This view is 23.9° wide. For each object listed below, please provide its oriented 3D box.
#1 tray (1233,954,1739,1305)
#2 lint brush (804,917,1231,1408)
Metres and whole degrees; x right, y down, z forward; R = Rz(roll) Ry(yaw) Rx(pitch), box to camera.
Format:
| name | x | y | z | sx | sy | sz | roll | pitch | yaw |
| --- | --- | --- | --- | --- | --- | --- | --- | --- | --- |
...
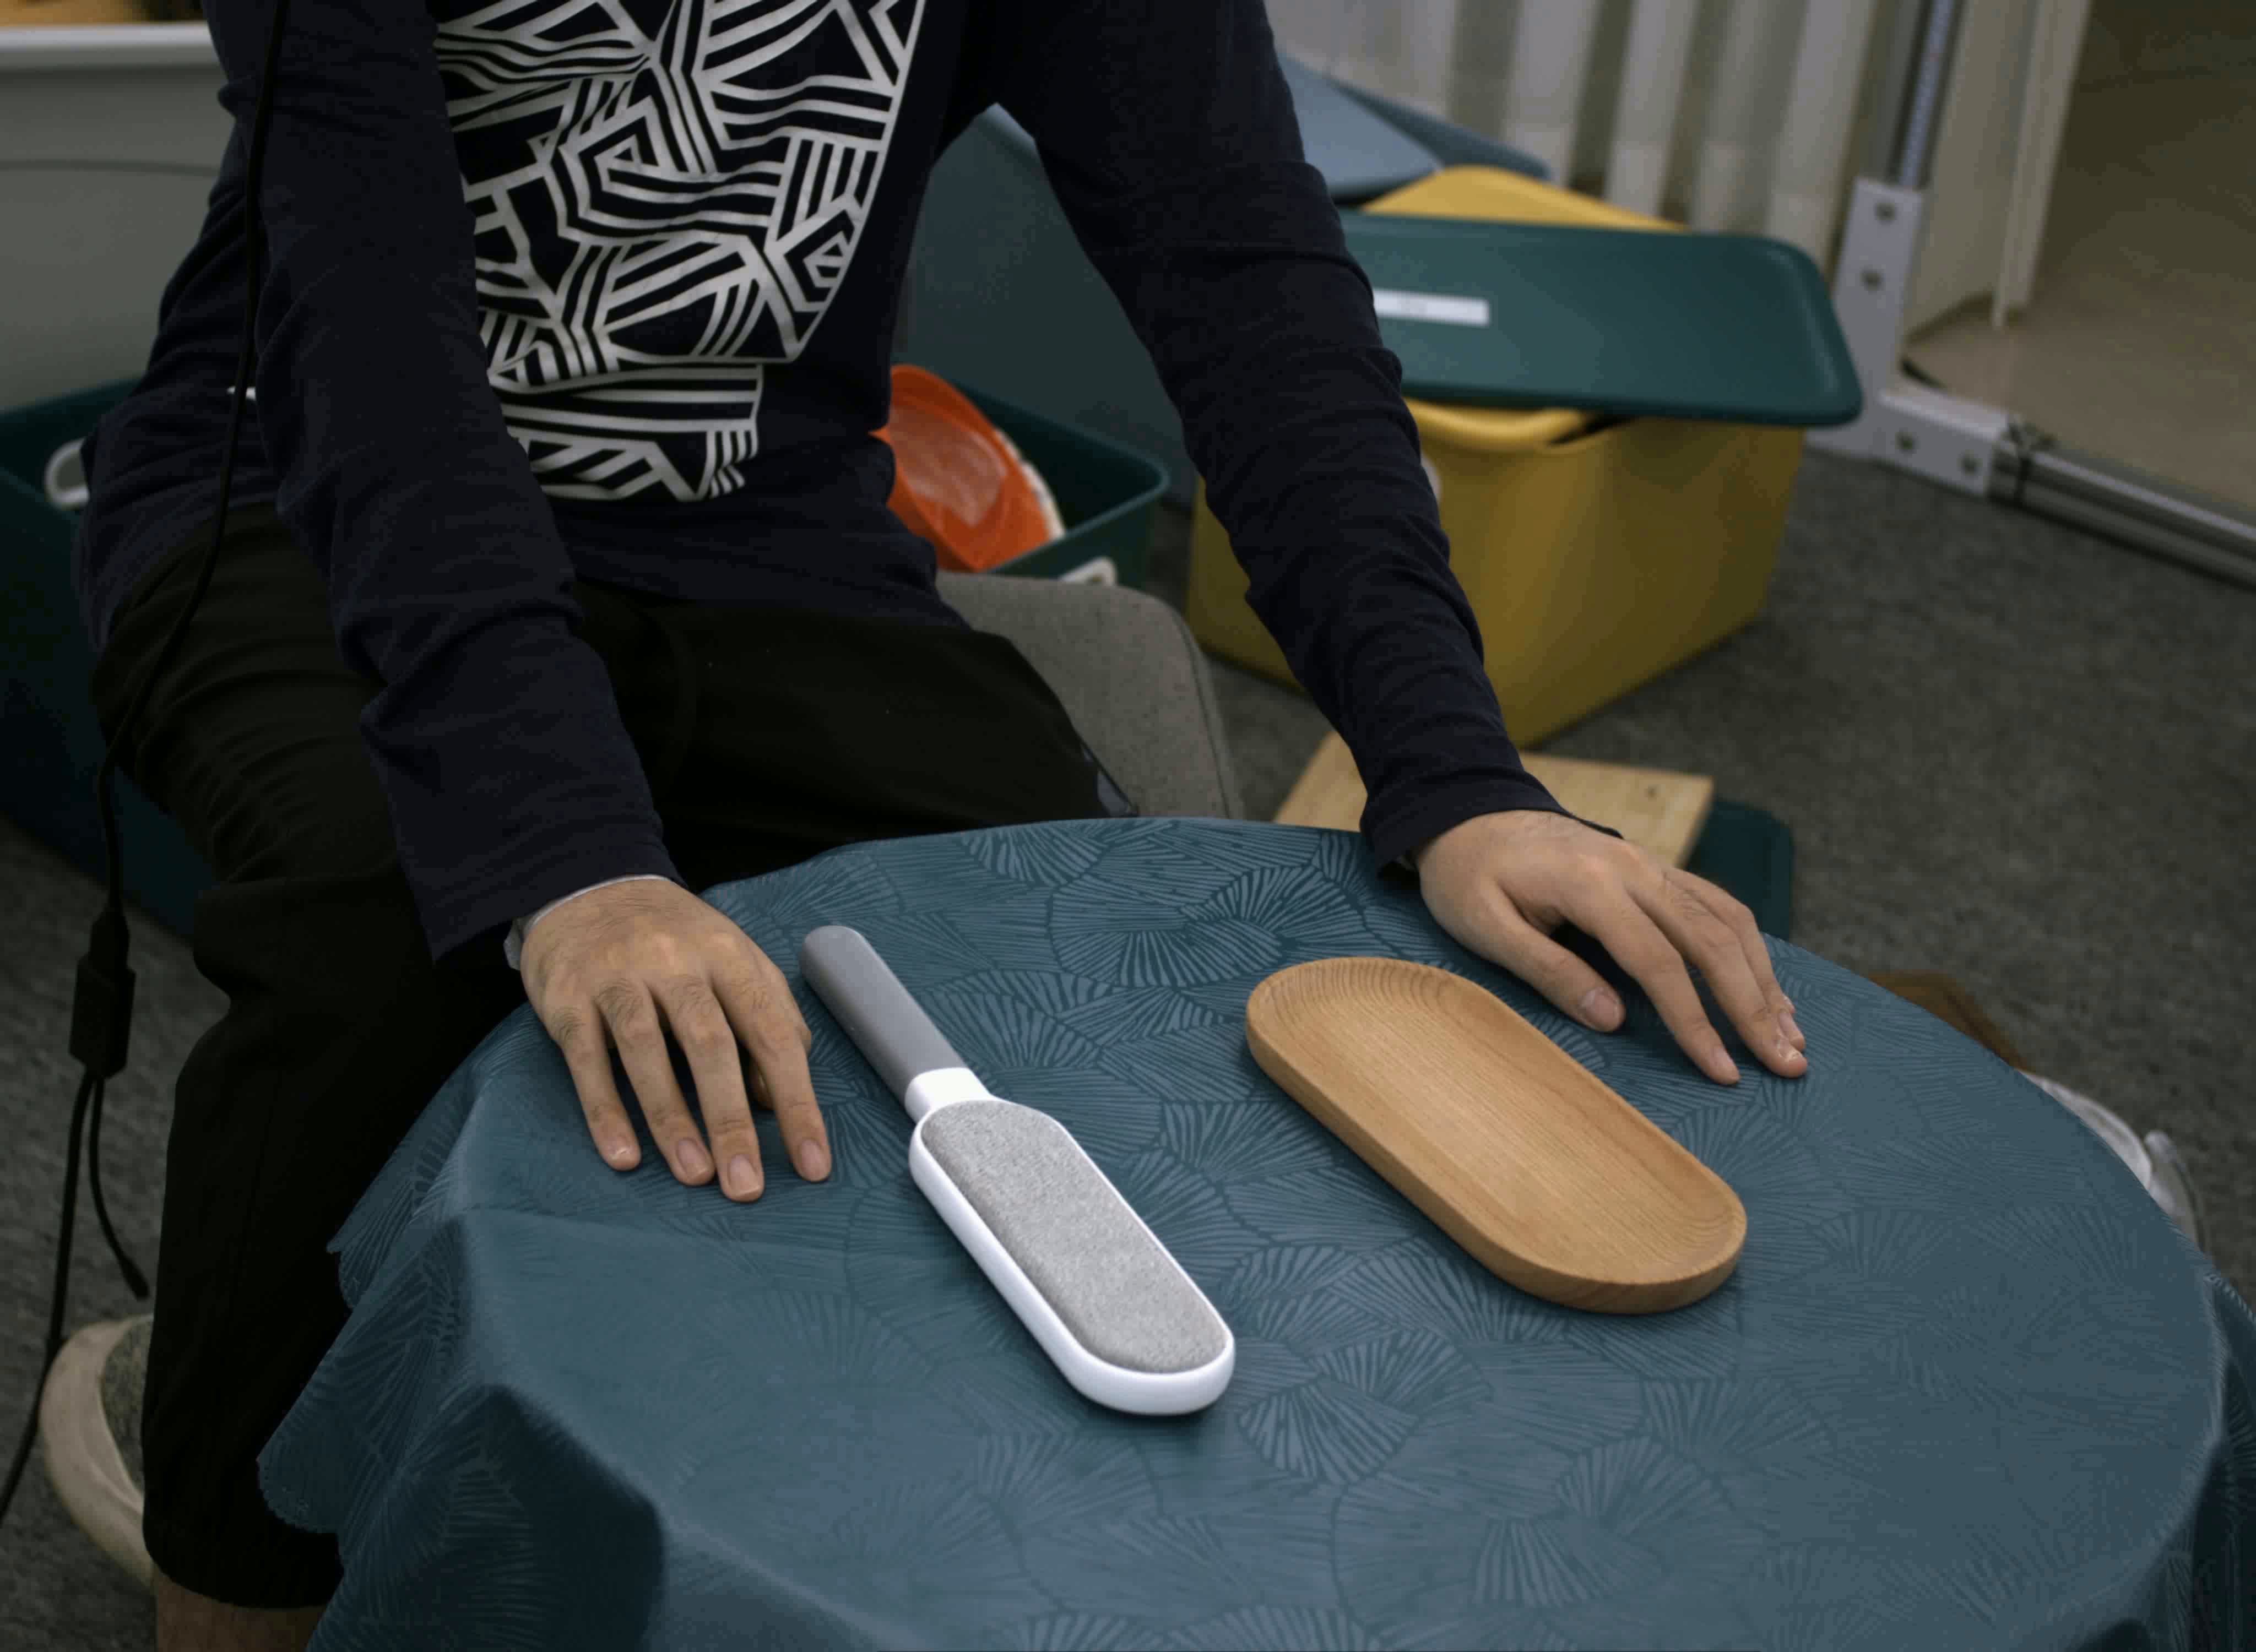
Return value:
| name | x | y | z | sx | sy | sz | roll | pitch | yaw |
| --- | --- | --- | --- | --- | --- | --- | --- | --- | --- |
| tray | 0.122 | 0.104 | 1.855 | 0.101 | 0.020 | 0.233 | -9 | 29 | -32 |
| lint brush | -0.045 | 0.108 | 1.796 | 0.060 | 0.021 | 0.312 | -11 | 31 | -21 |
